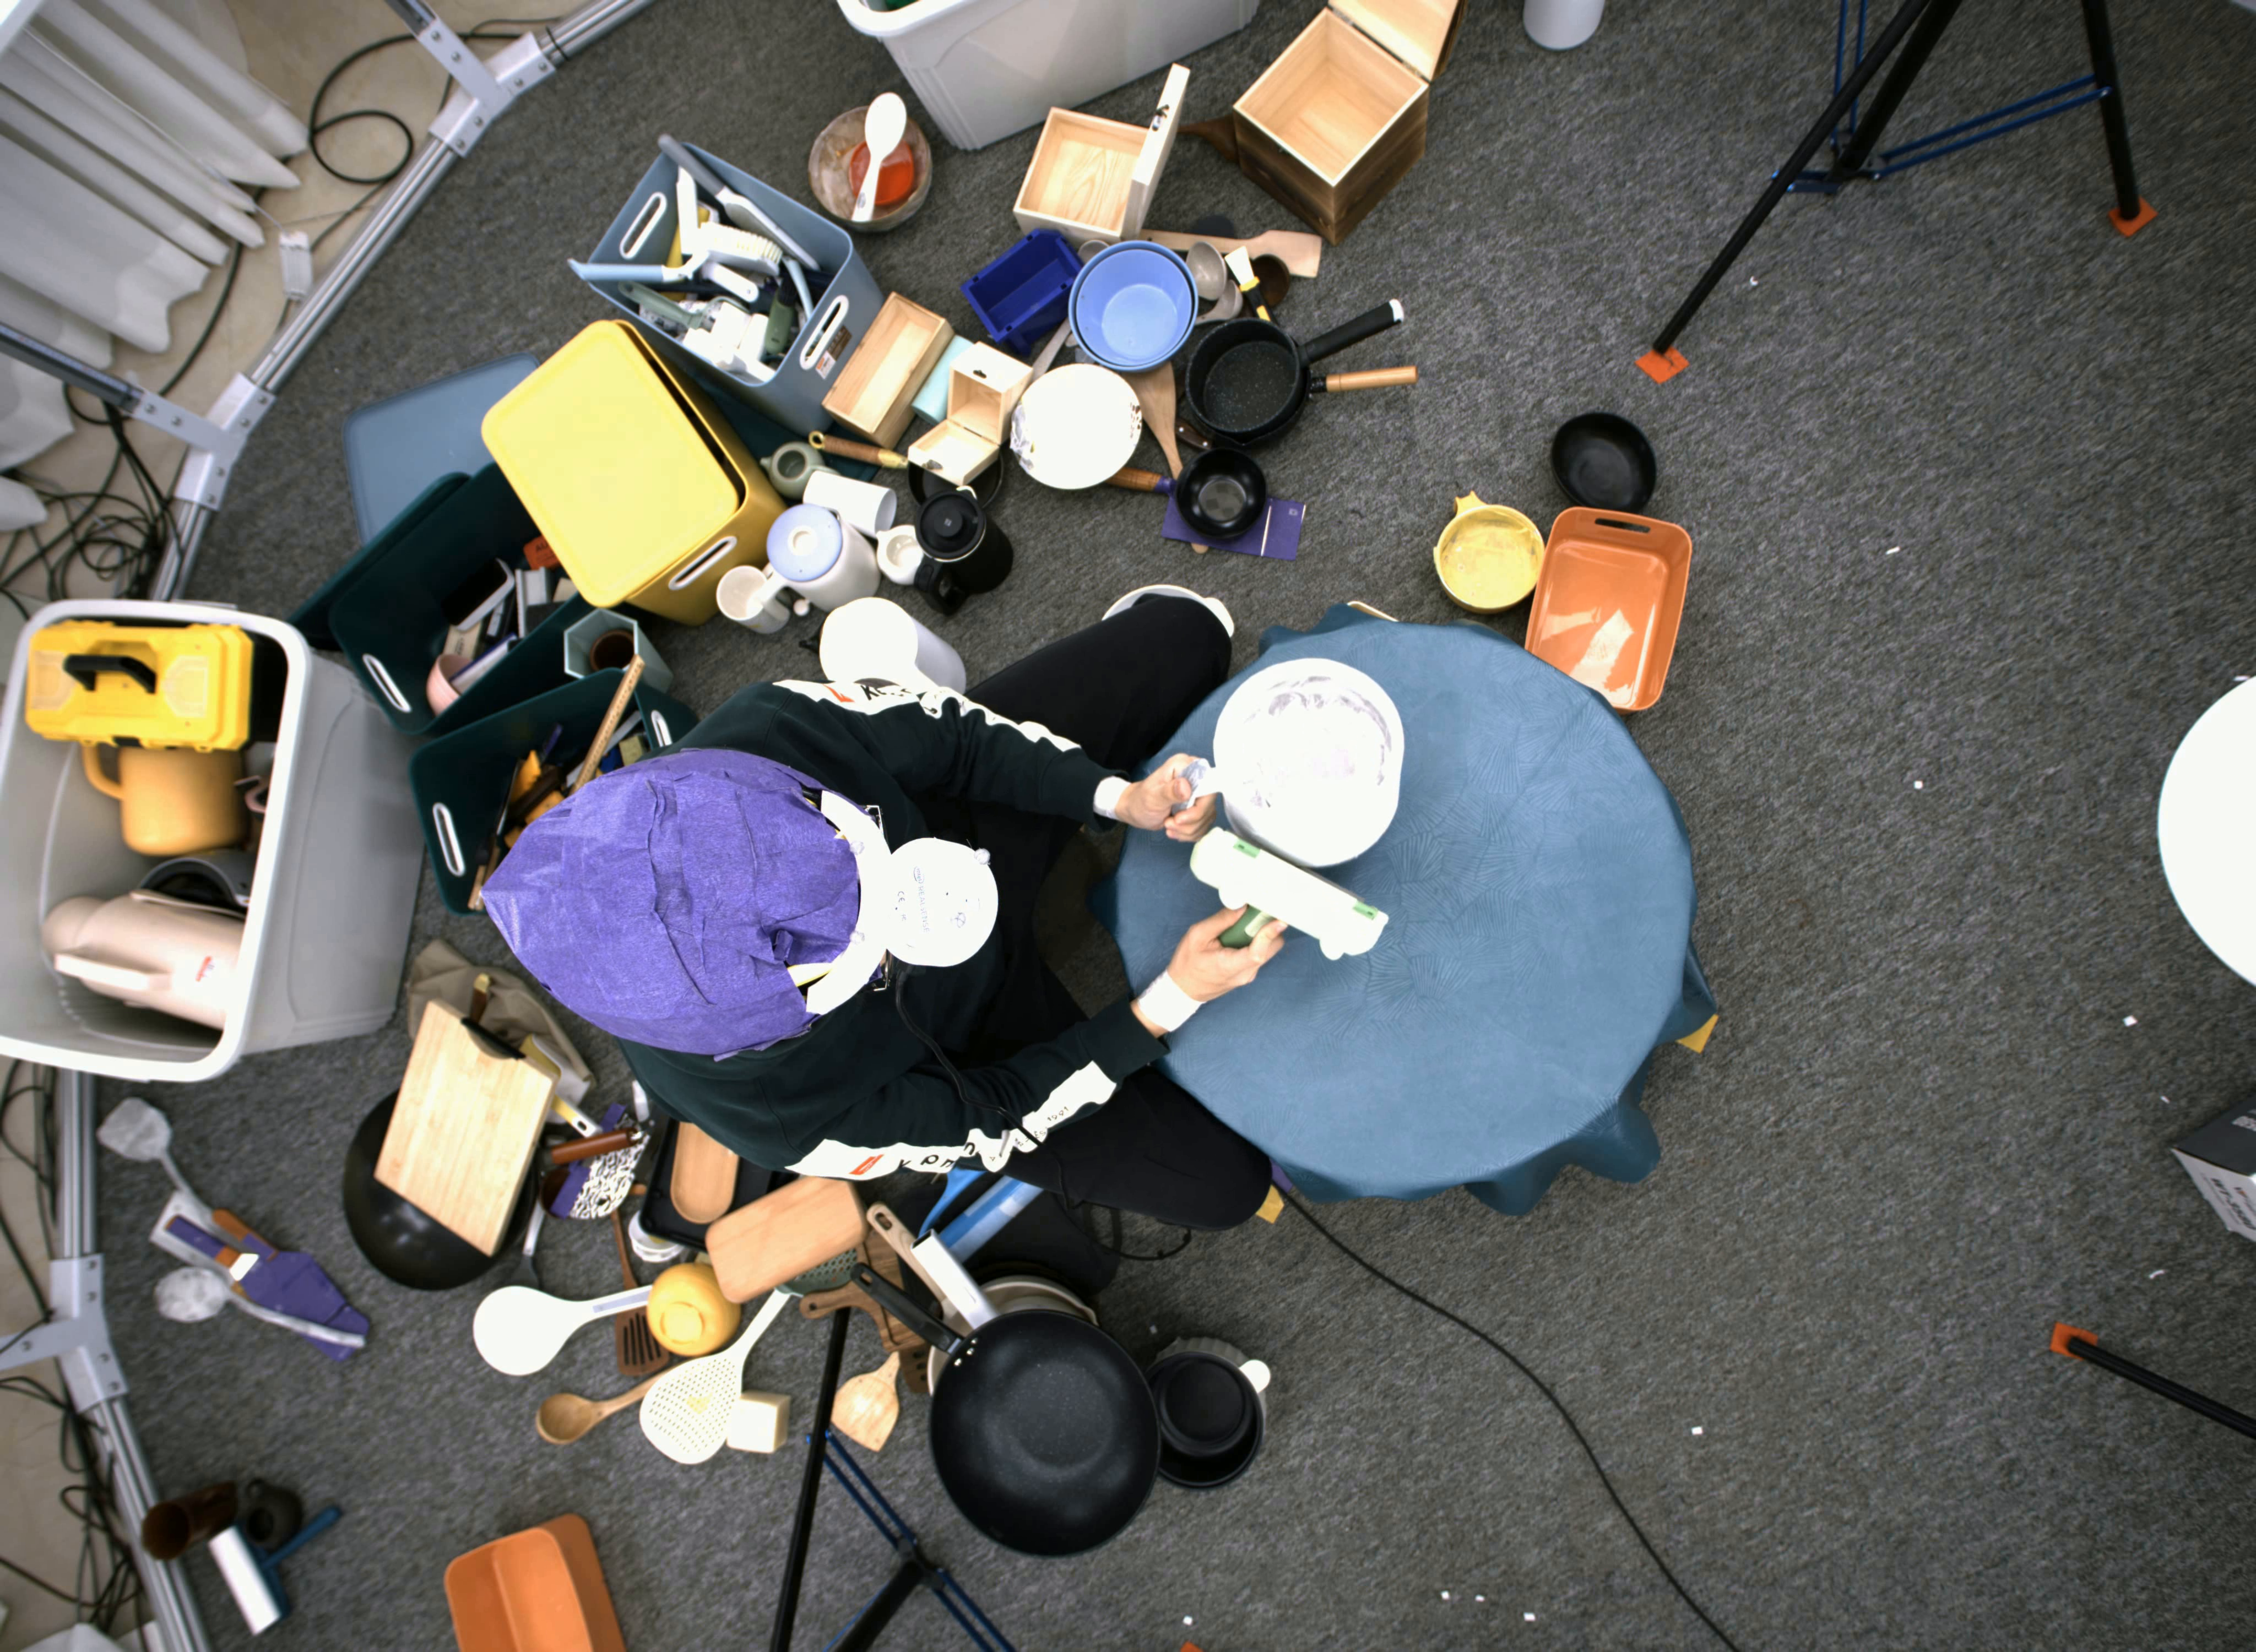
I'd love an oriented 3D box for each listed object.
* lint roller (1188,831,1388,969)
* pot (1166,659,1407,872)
[{"bbox_3d":[0.125,0.104,1.360,0.199,0.080,0.188,25,129,-17],"label":"lint roller"},{"bbox_3d":[0.149,-0.047,1.338,0.234,0.138,0.175,-13,67,3],"label":"pot"}]
